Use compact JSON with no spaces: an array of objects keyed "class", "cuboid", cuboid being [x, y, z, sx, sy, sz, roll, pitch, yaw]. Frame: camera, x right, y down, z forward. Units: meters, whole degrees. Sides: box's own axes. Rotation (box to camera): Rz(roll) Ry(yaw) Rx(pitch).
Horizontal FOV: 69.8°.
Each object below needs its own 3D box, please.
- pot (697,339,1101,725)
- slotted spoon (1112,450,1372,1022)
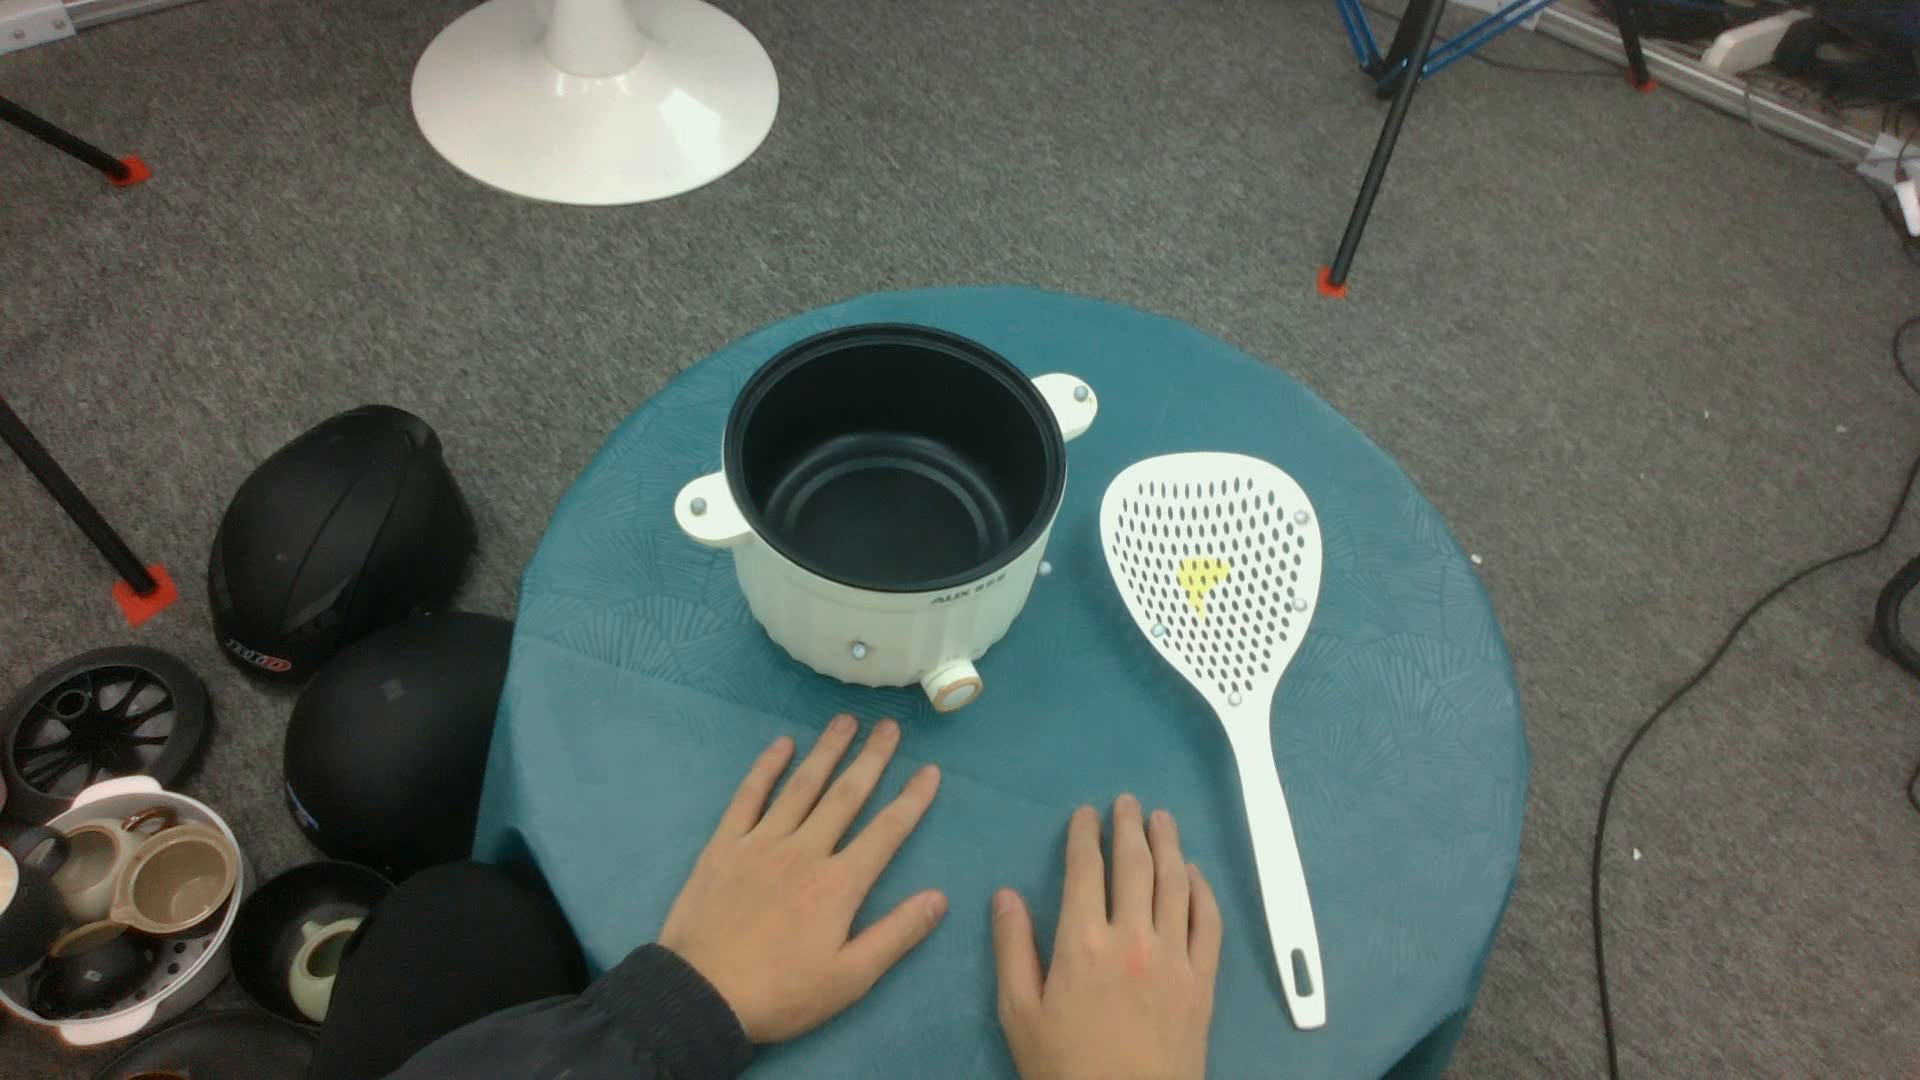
[{"class":"pot","cuboid":[-0.027,0.002,0.788,0.241,0.142,0.191,-23,56,-18]},{"class":"slotted spoon","cuboid":[0.176,0.096,0.794,0.137,0.050,0.349,-6,55,-4]}]
